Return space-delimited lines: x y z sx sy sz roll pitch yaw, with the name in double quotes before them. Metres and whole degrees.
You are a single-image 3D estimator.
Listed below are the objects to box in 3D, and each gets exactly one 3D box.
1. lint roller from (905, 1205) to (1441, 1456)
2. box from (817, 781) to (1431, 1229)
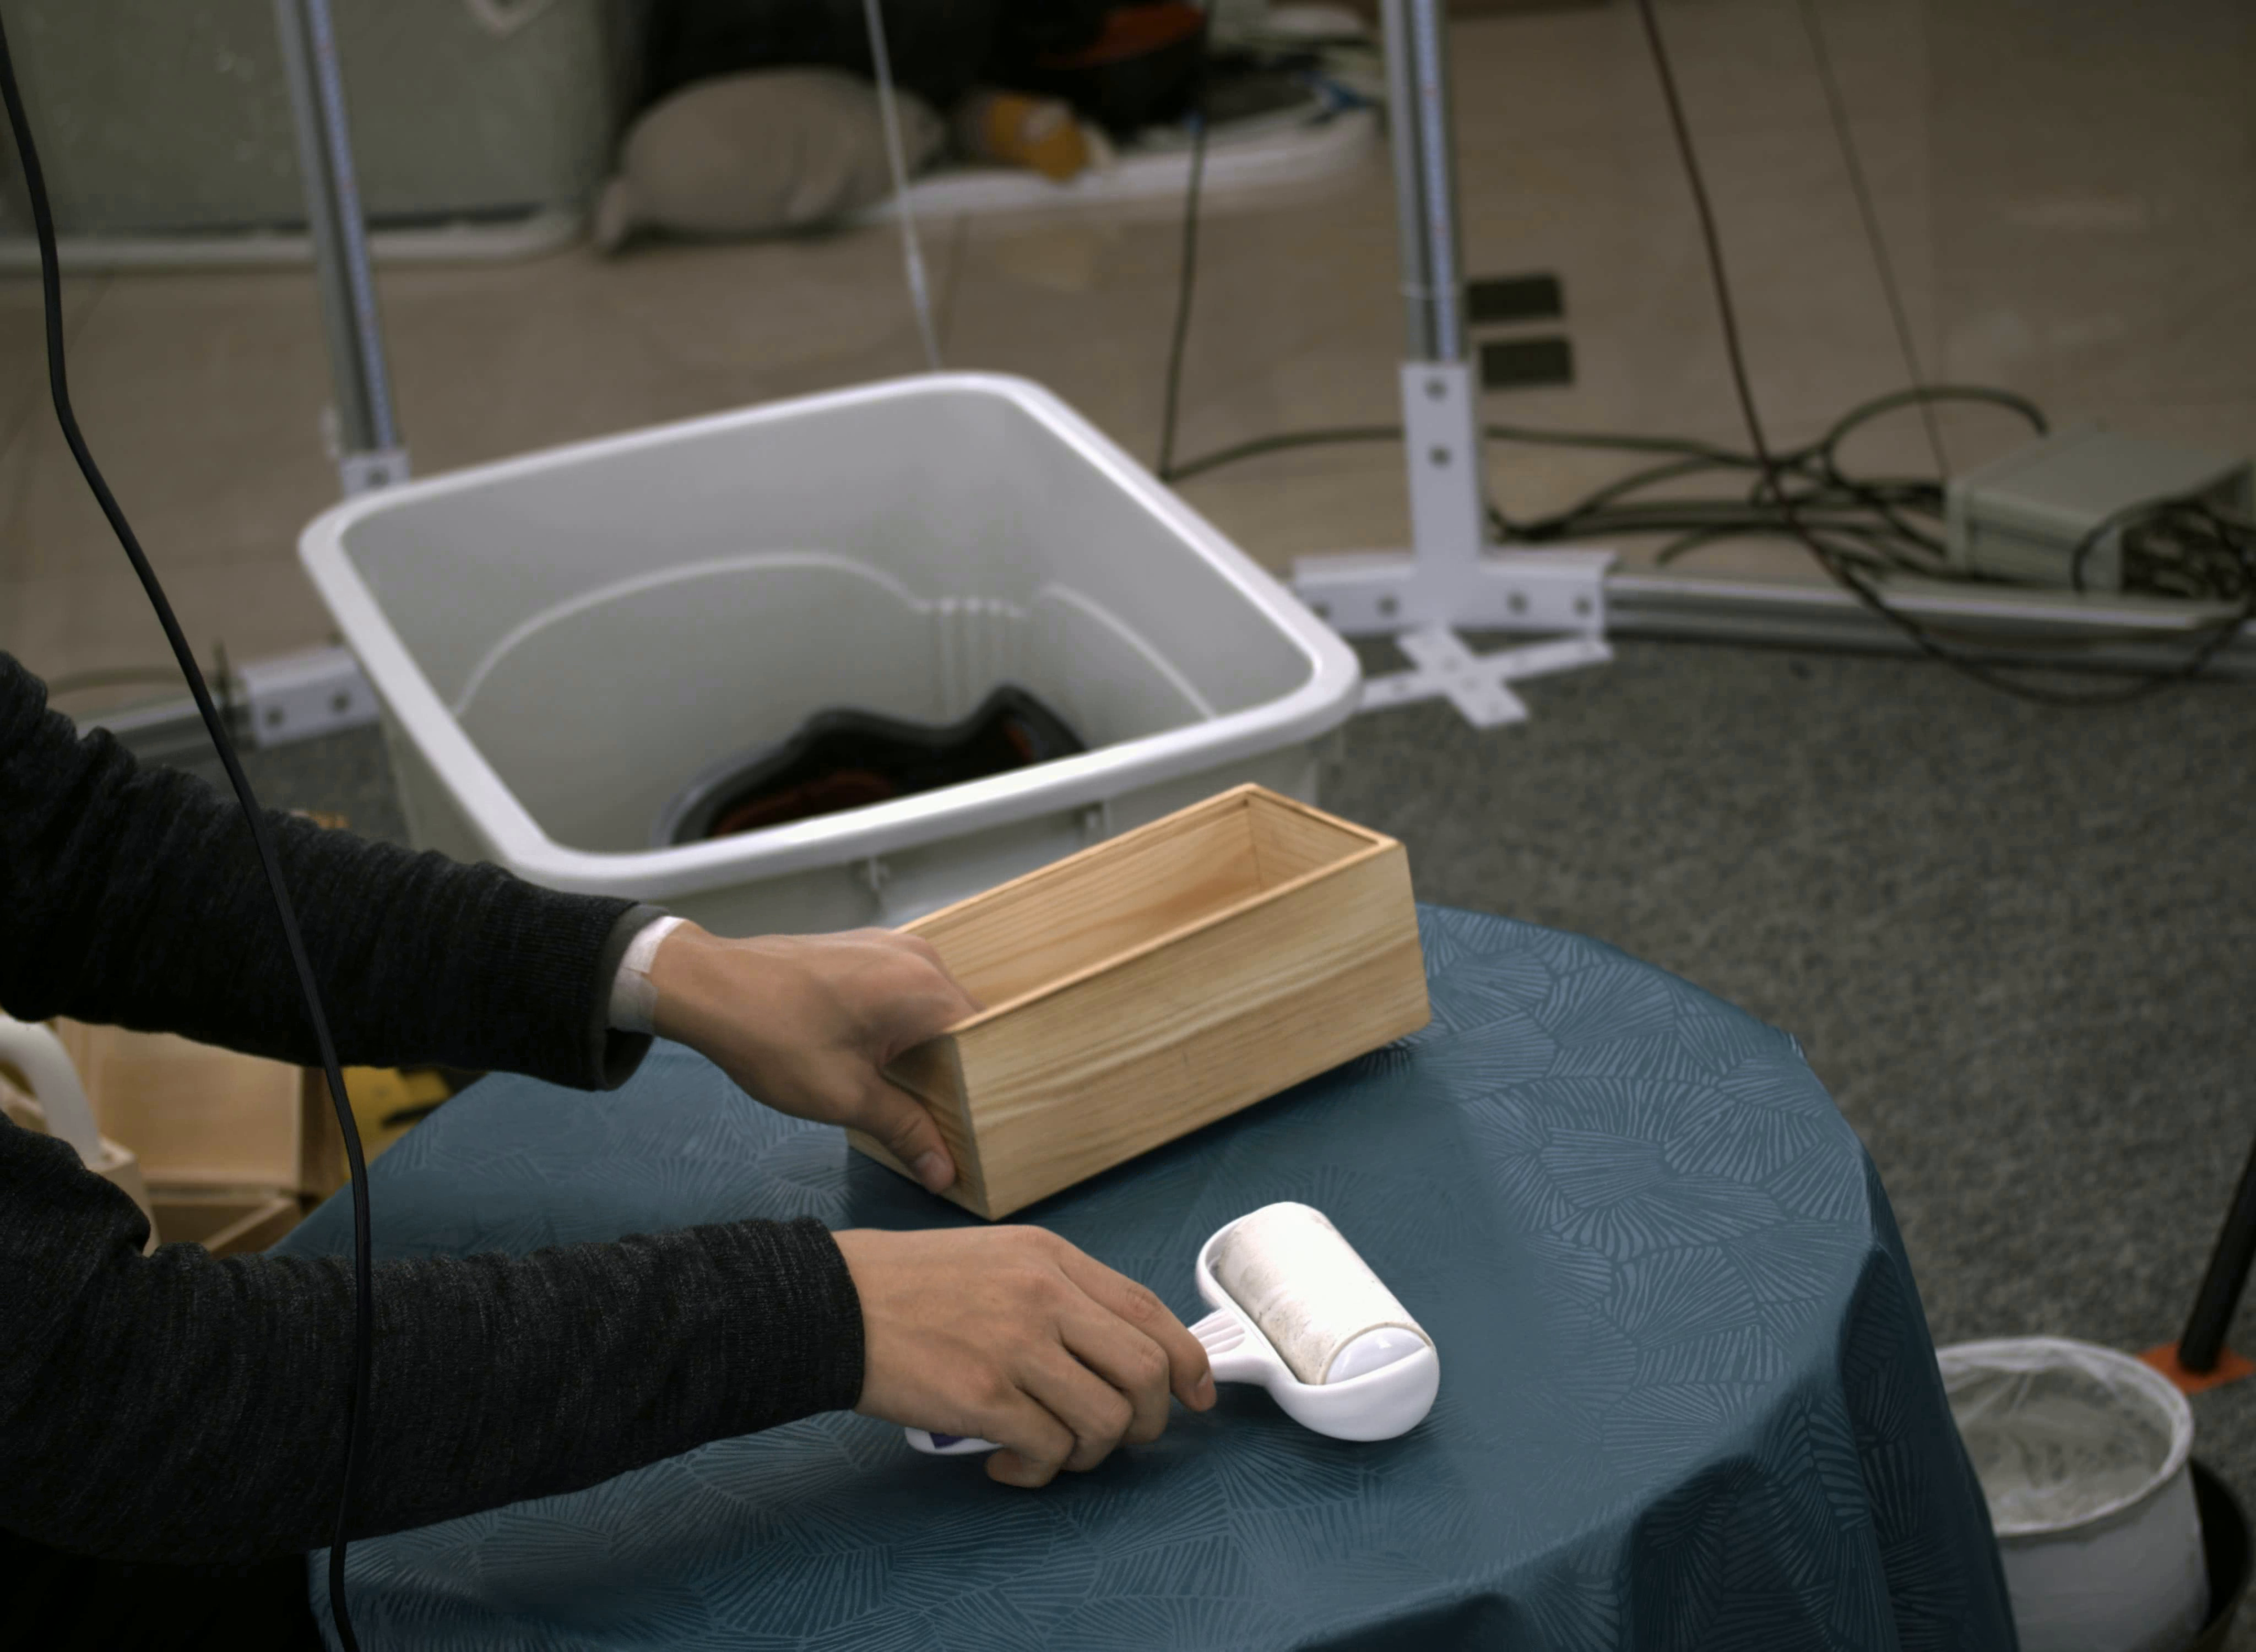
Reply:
"lint roller" 0.008 0.182 1.983 0.180 0.051 0.131 -6 25 -16
"box" 0.000 0.067 2.200 0.210 0.081 0.106 -24 28 -29
